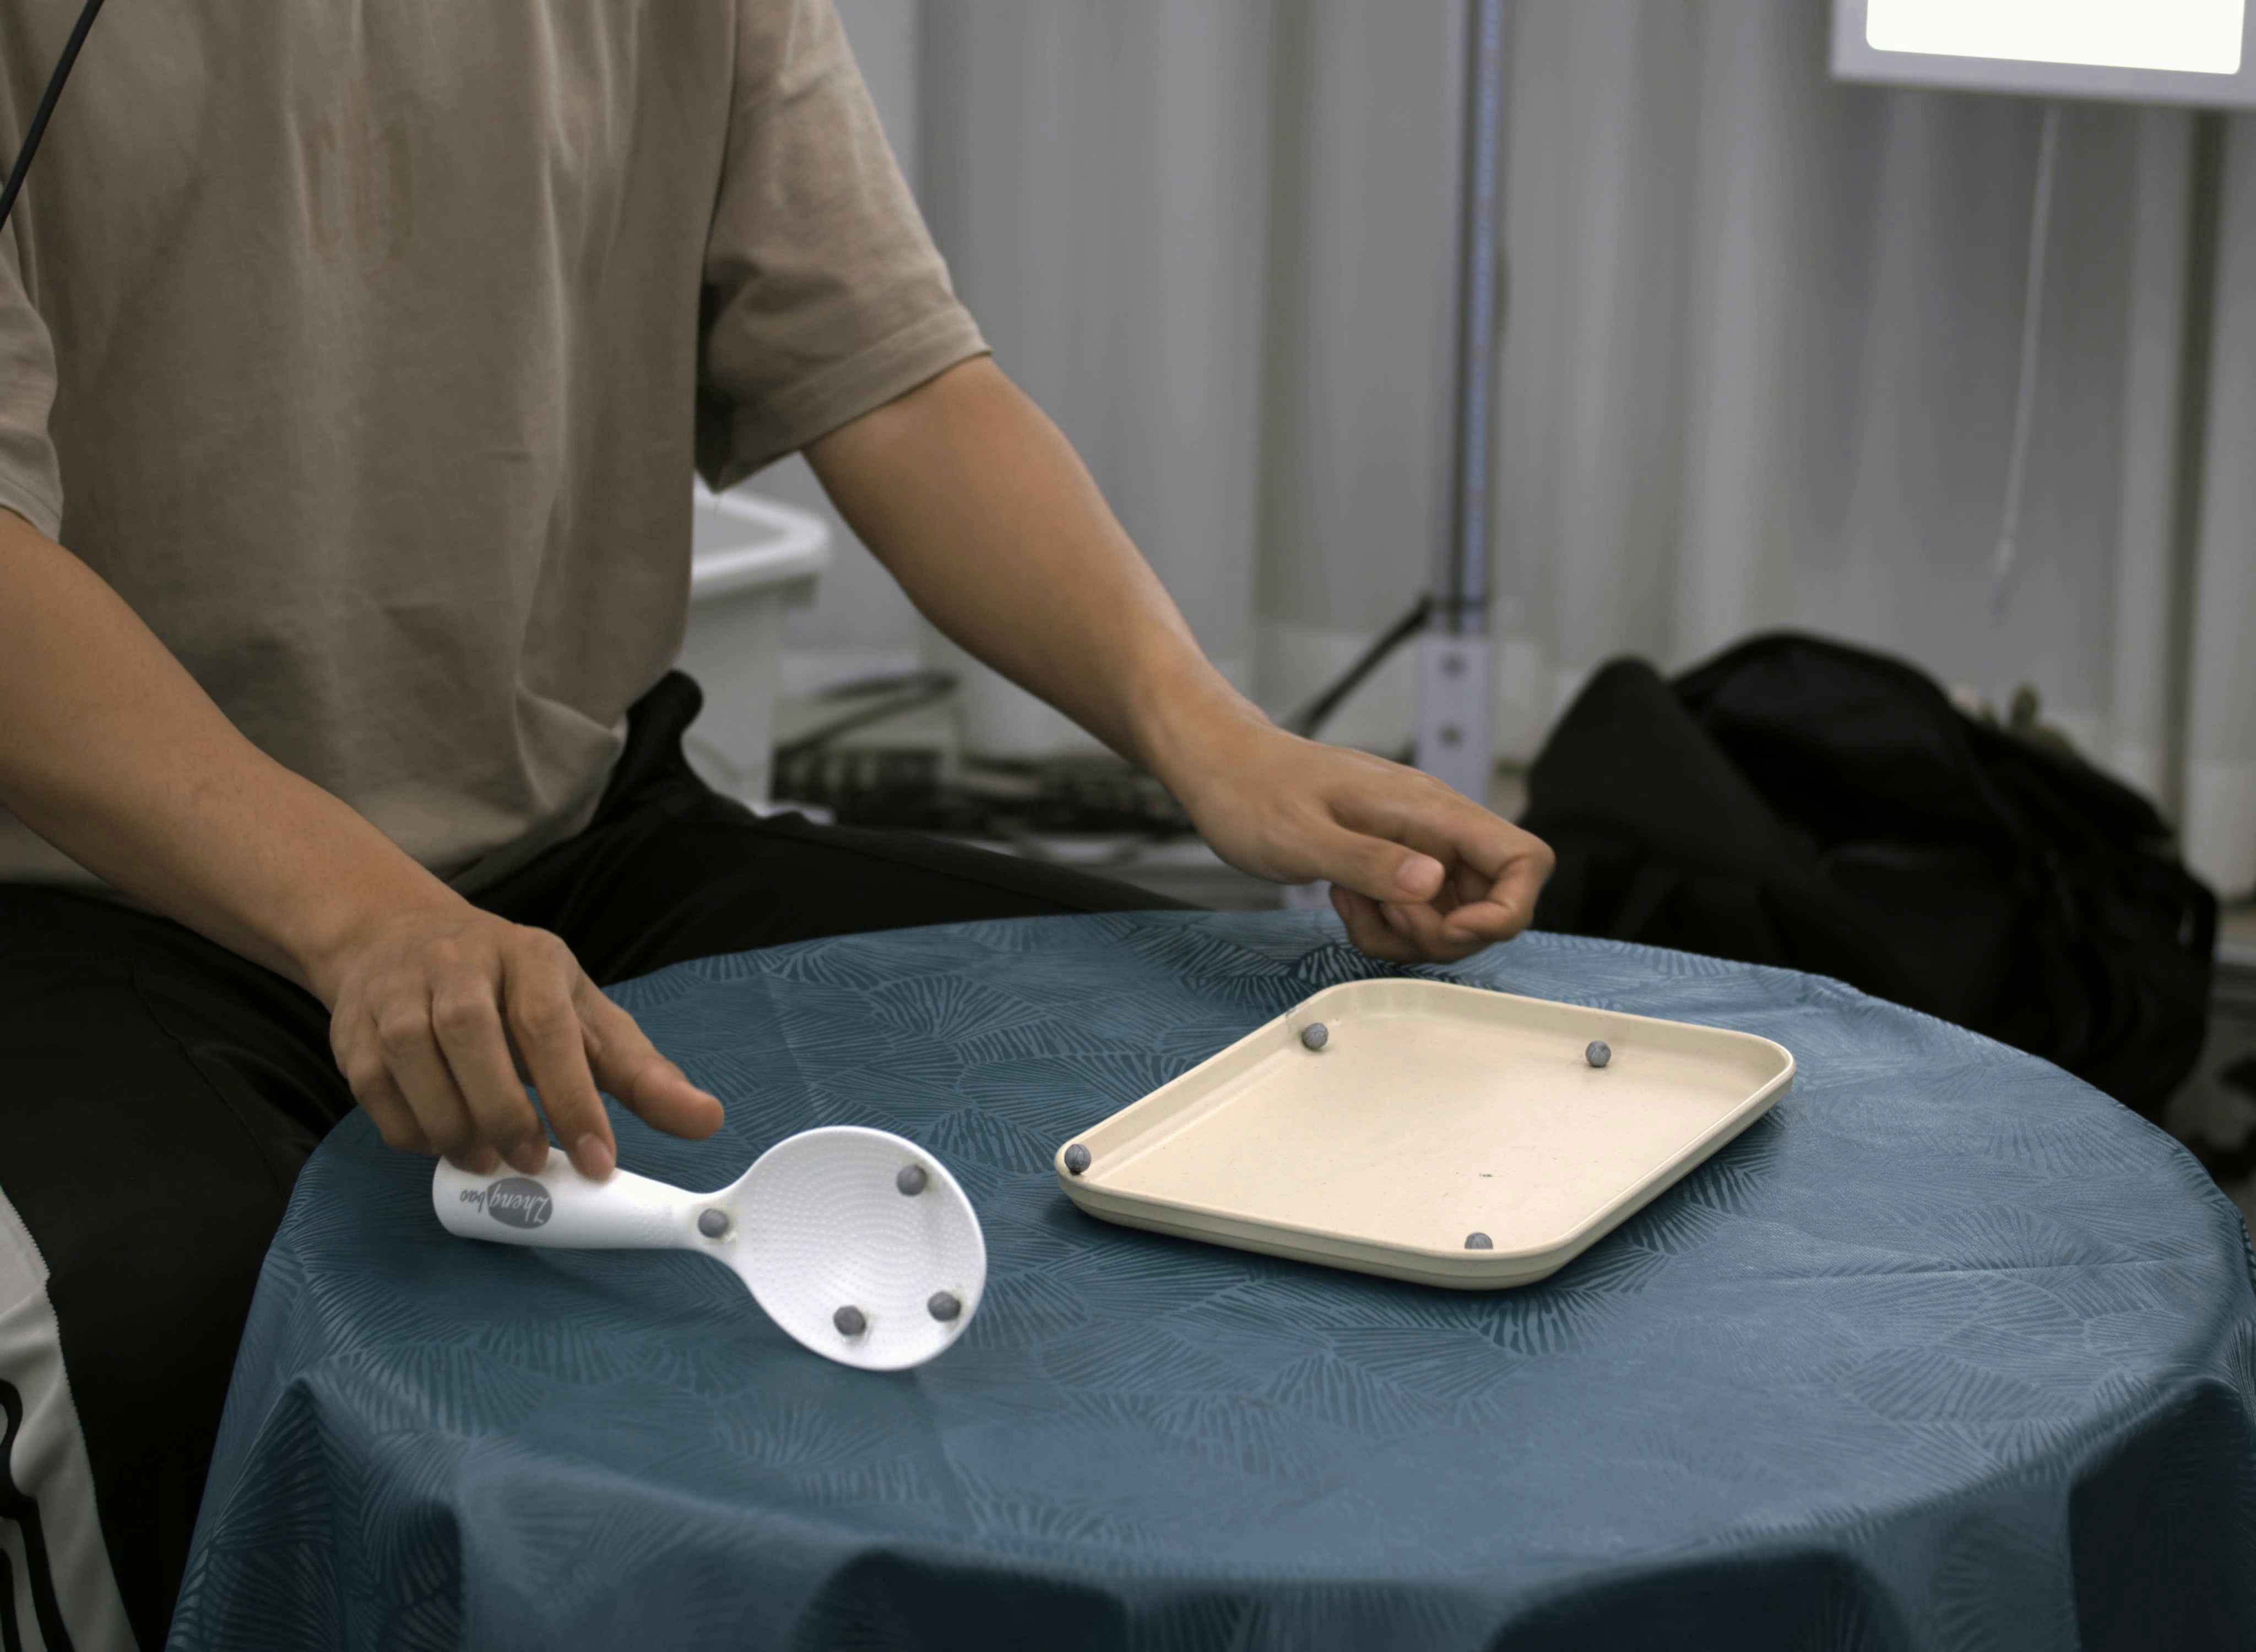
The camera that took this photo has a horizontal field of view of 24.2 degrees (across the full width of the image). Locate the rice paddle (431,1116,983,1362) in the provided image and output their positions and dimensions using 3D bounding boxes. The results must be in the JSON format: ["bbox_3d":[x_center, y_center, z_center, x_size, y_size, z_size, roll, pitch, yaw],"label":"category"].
[{"bbox_3d":[-0.120,0.112,1.509,0.203,0.069,0.029,5,8,39],"label":"rice paddle"}]

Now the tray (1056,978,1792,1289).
[{"bbox_3d":[0.096,0.095,1.659,0.169,0.017,0.240,10,18,26],"label":"tray"}]
